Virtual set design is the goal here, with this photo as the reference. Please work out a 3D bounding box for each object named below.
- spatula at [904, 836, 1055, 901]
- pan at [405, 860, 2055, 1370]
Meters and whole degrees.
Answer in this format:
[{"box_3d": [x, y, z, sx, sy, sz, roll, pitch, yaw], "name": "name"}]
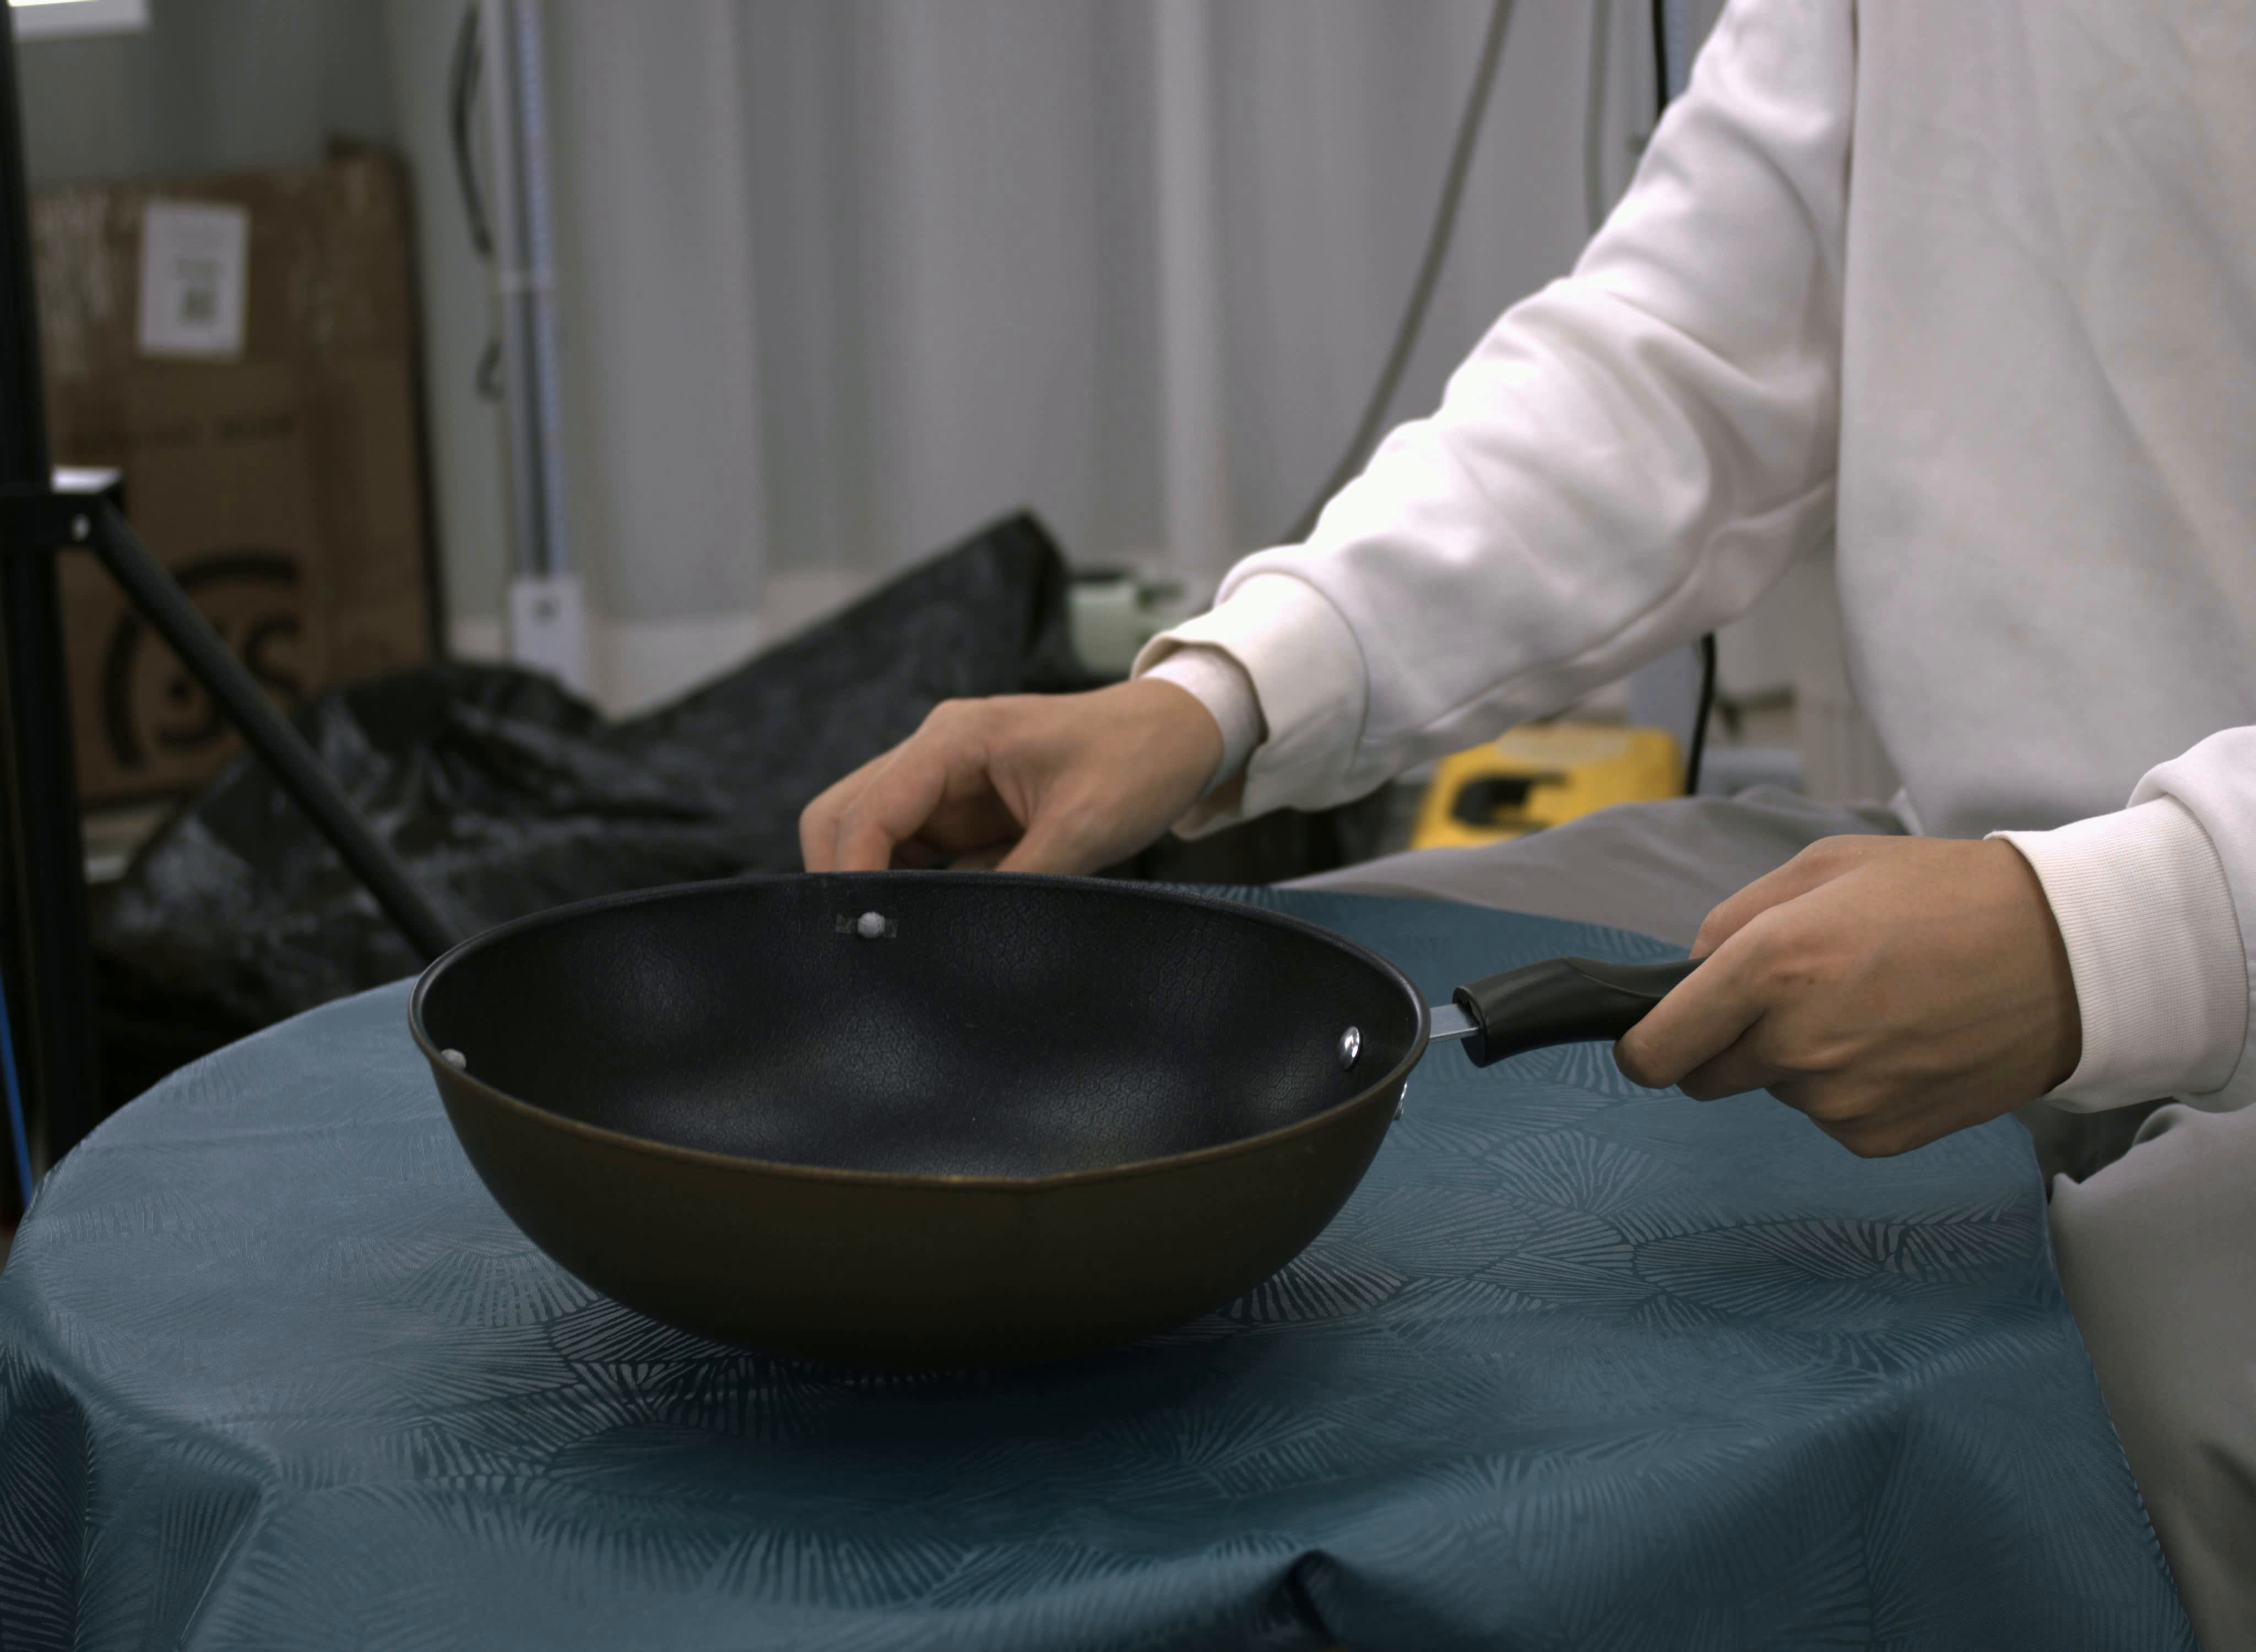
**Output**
[{"box_3d": [-0.096, 0.053, 1.722, 0.073, 0.010, 0.289, 2, 20, 26], "name": "spatula"}, {"box_3d": [0.031, 0.082, 1.467, 0.457, 0.087, 0.291, -1, 15, -11], "name": "pan"}]
